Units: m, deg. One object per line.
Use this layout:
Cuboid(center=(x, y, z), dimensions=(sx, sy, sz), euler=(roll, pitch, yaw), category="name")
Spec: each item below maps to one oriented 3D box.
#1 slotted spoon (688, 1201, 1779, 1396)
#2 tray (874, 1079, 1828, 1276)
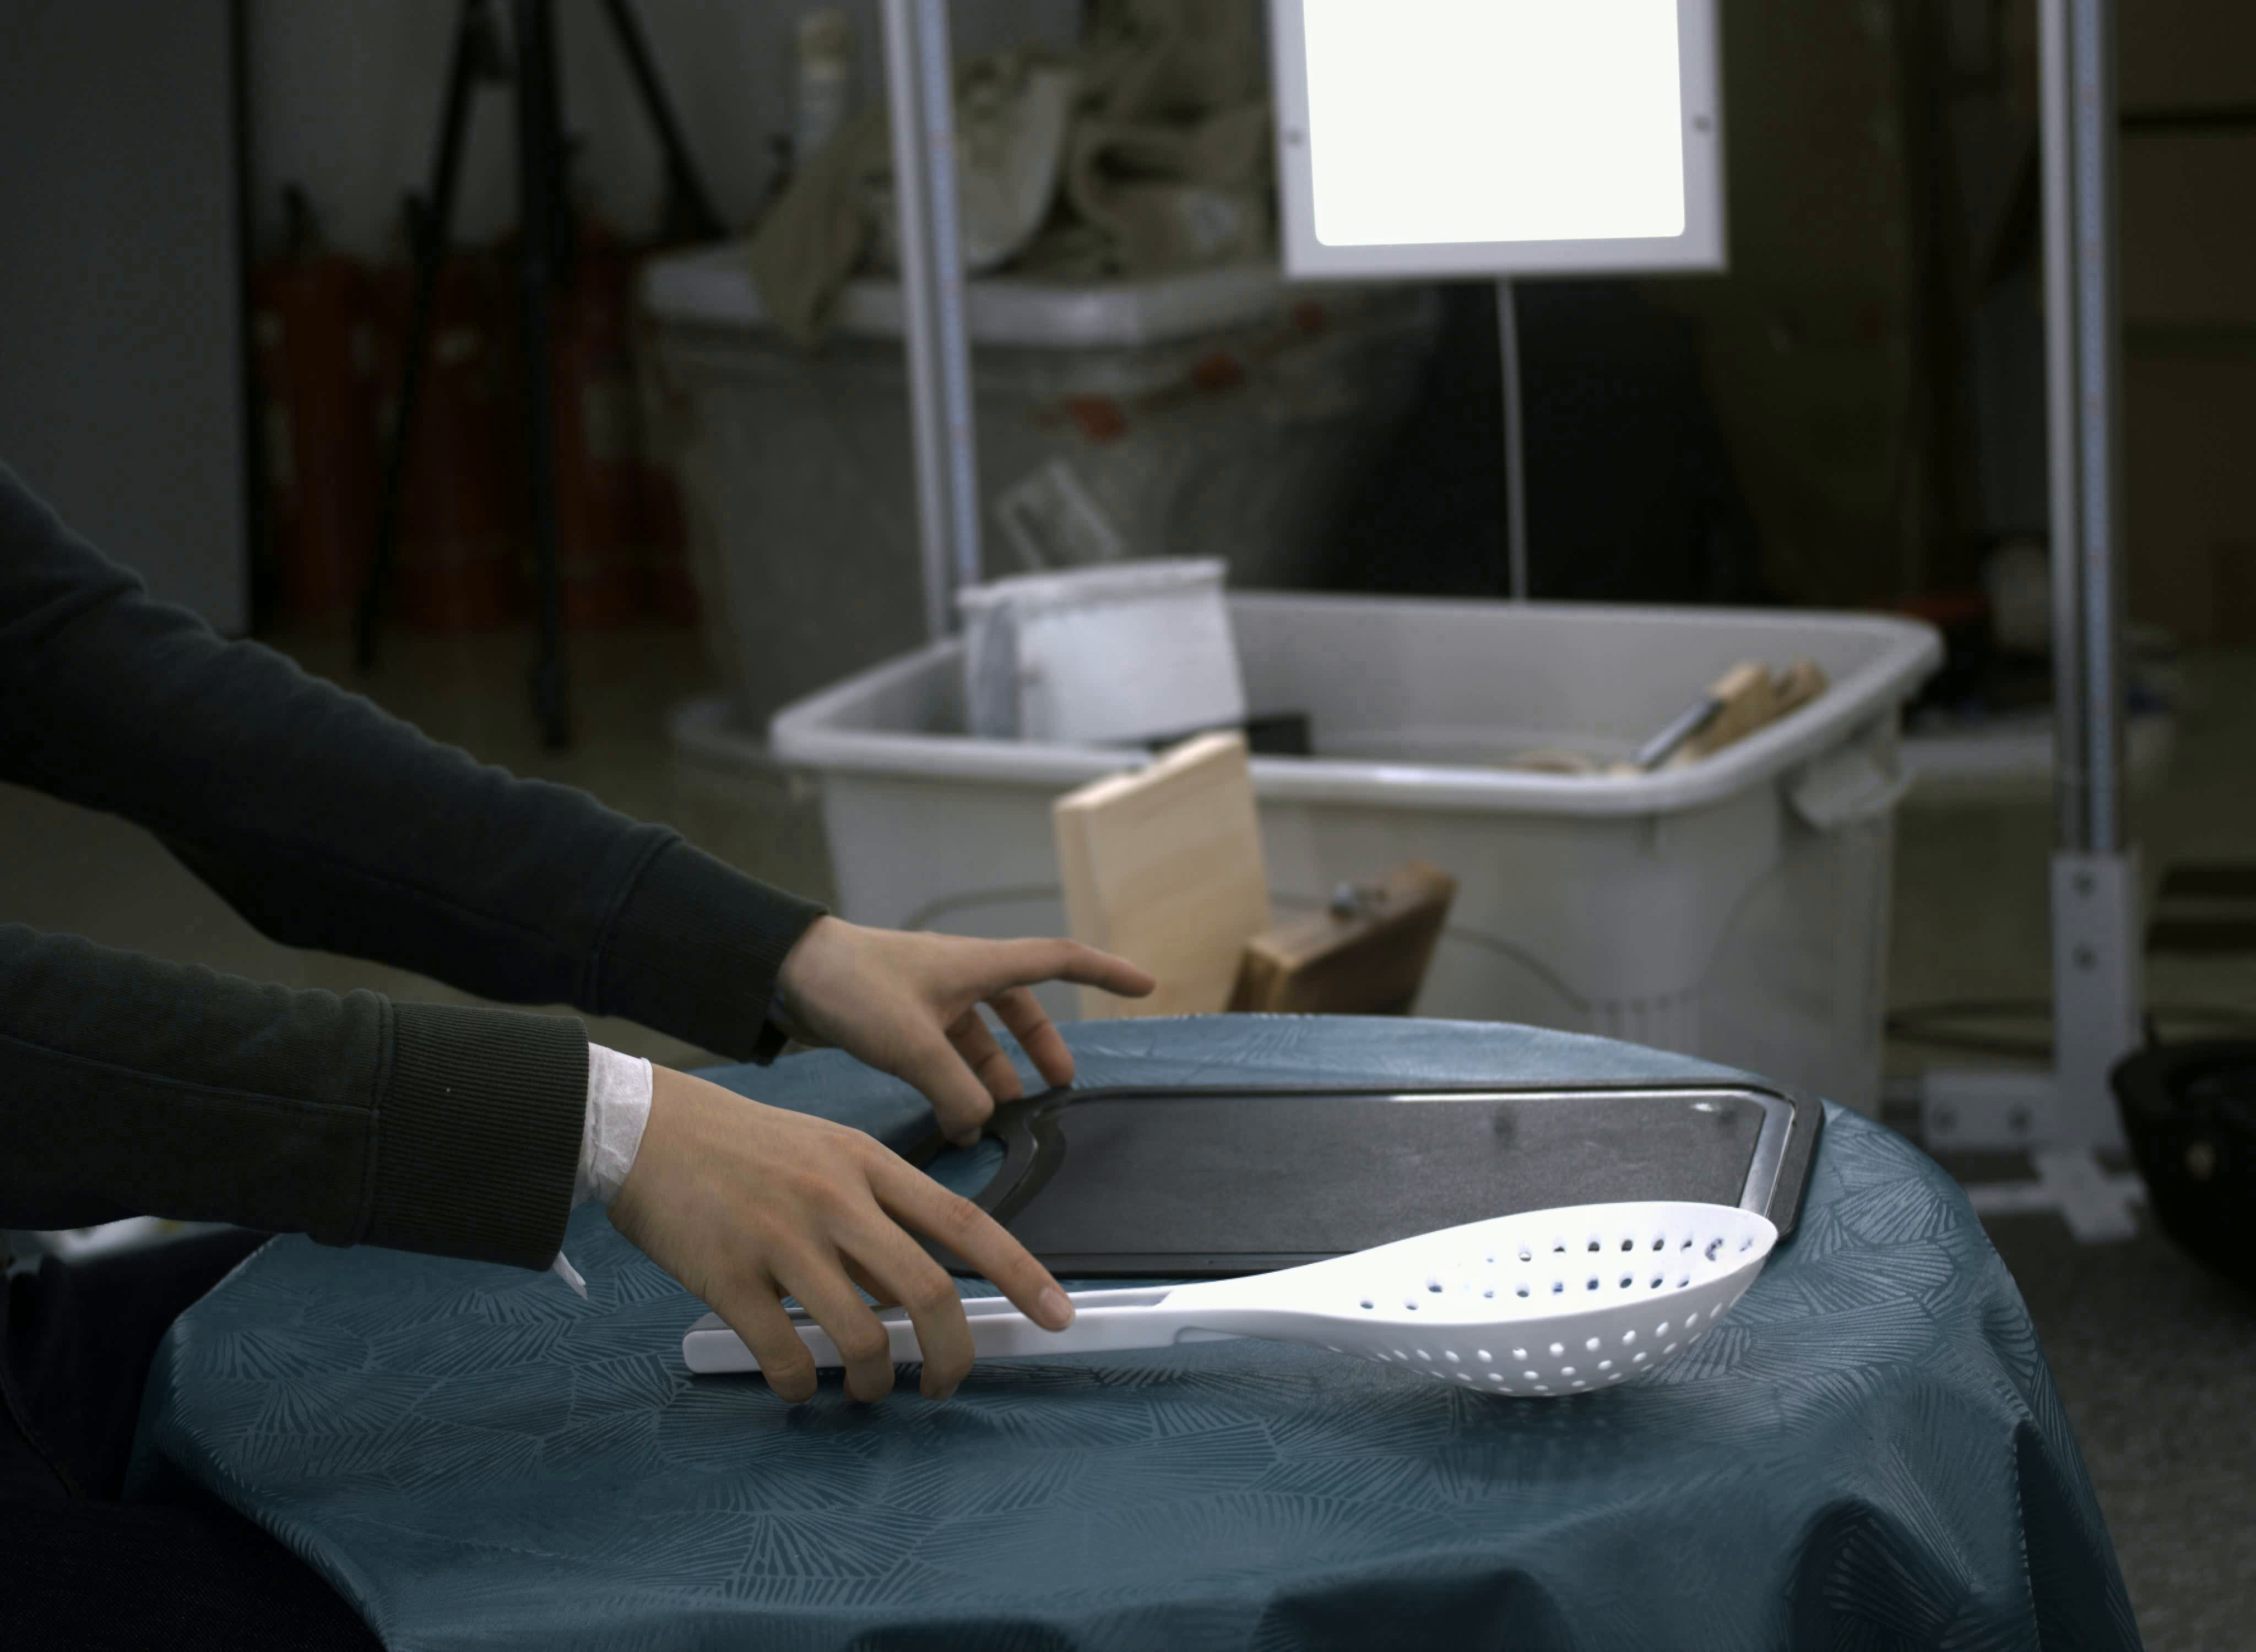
Cuboid(center=(0.028, 0.149, 1.700), dimensions=(0.354, 0.046, 0.134), euler=(-1, 10, 19), category="slotted spoon")
Cuboid(center=(0.074, 0.118, 1.890), dimensions=(0.328, 0.010, 0.208), euler=(-2, 14, 14), category="tray")
